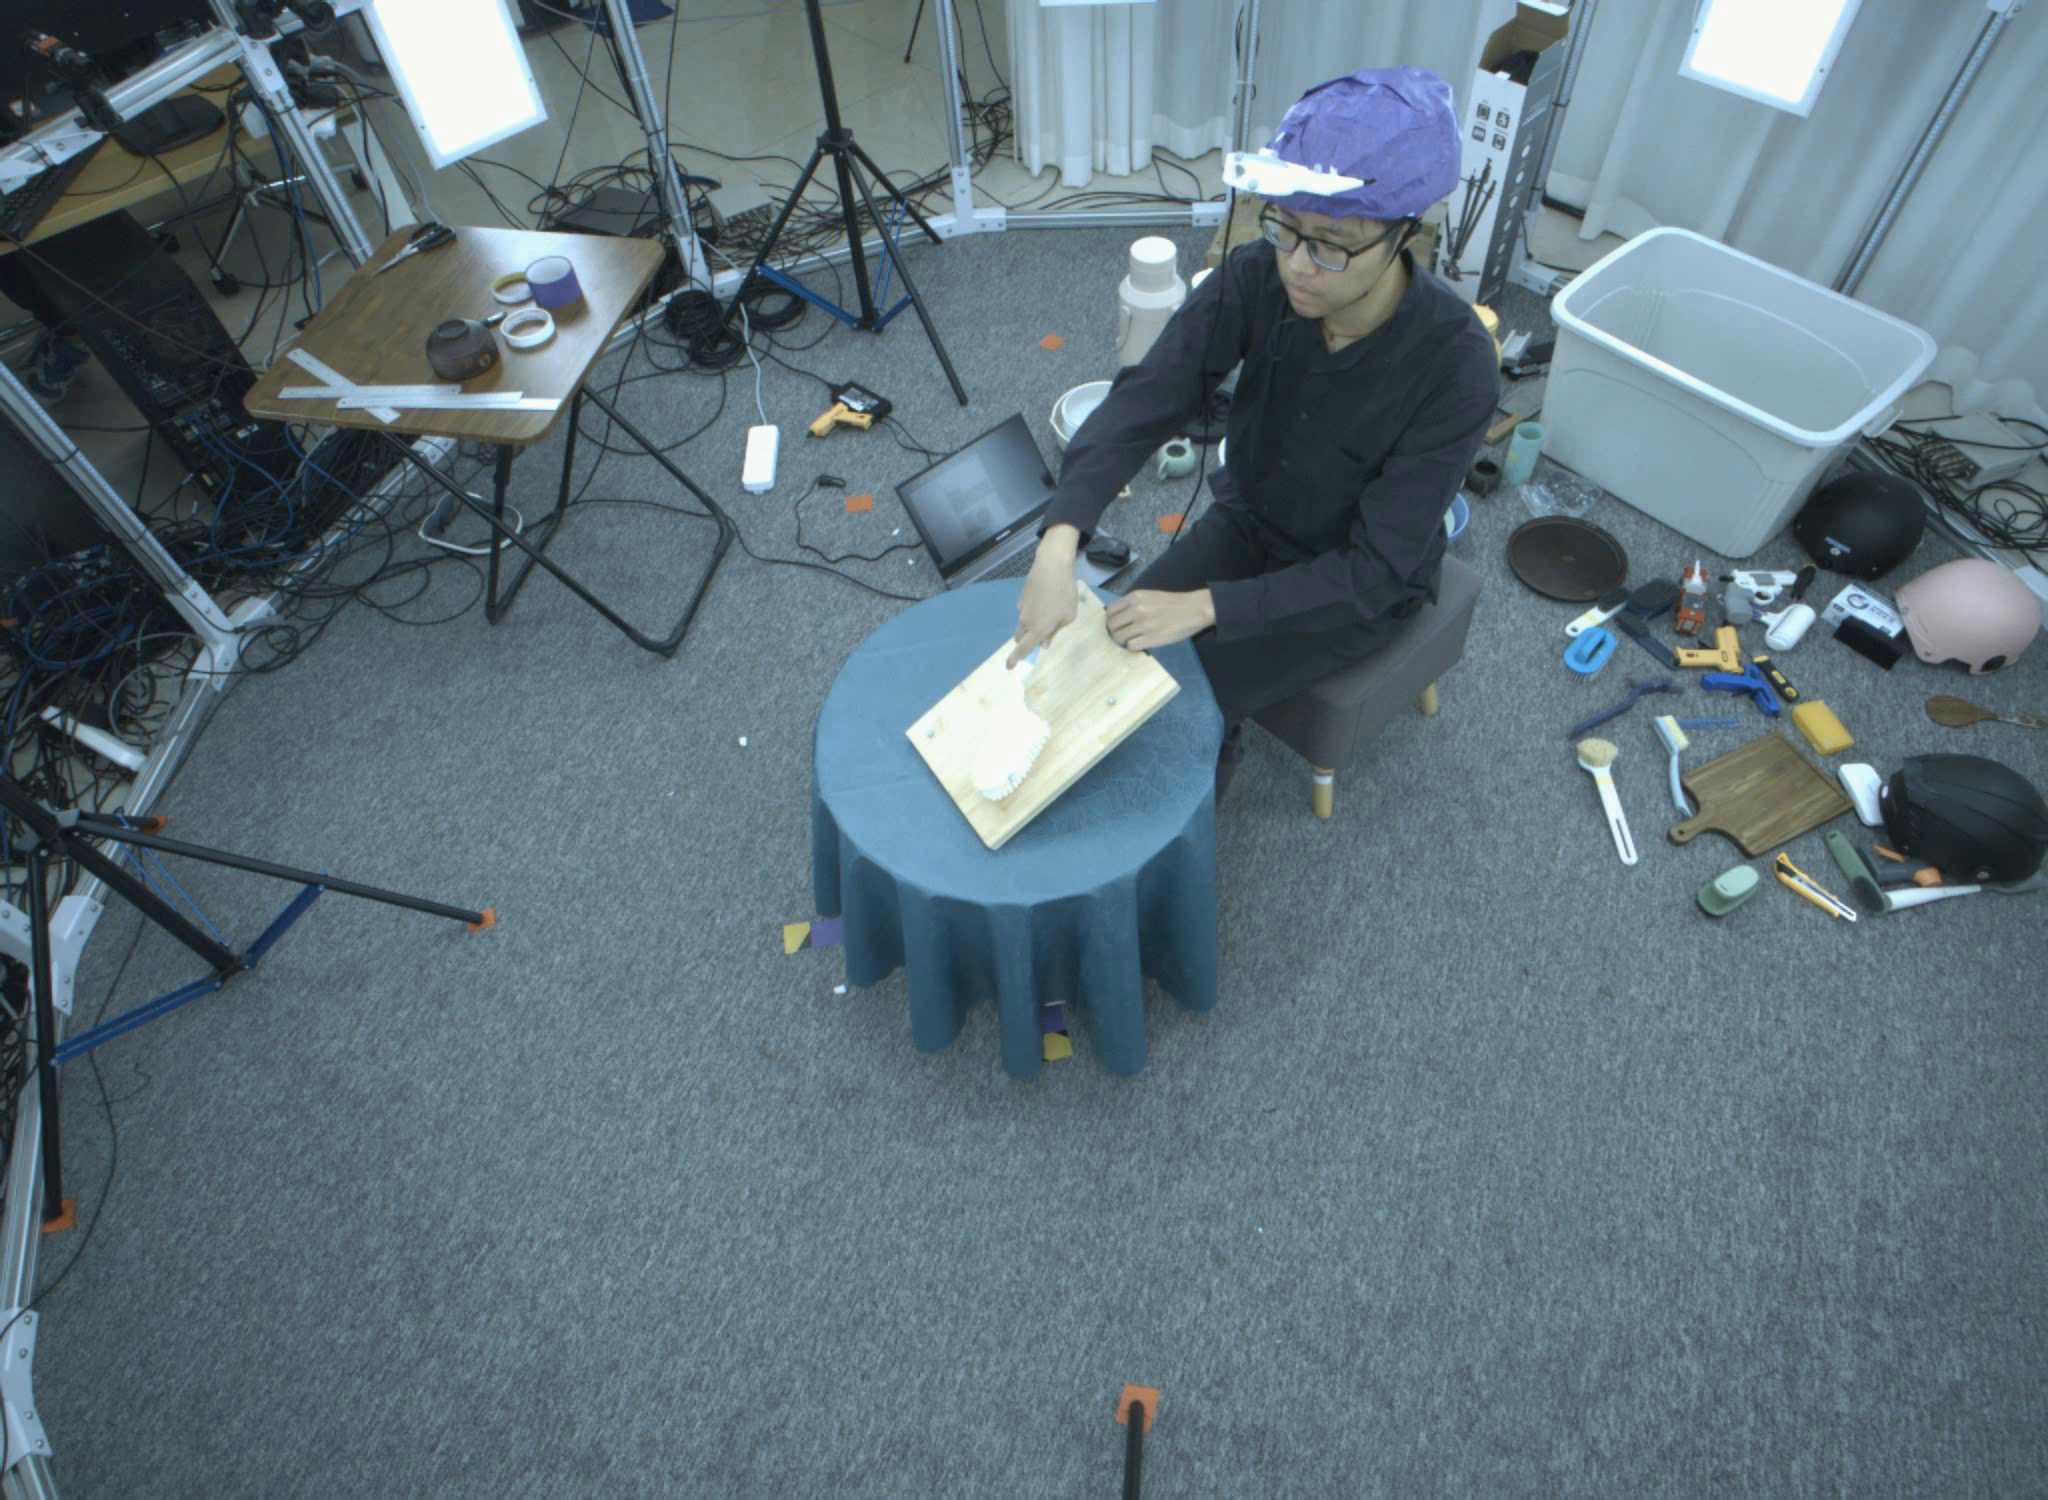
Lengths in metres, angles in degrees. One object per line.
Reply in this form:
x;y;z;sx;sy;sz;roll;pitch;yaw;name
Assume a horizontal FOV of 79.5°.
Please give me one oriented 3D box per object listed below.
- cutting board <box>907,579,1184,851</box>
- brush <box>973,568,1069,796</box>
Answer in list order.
0.020;-0.054;1.732;0.348;0.024;0.246;-42;61;2;cutting board
0.014;-0.090;1.694;0.084;0.084;0.325;21;87;-9;brush
